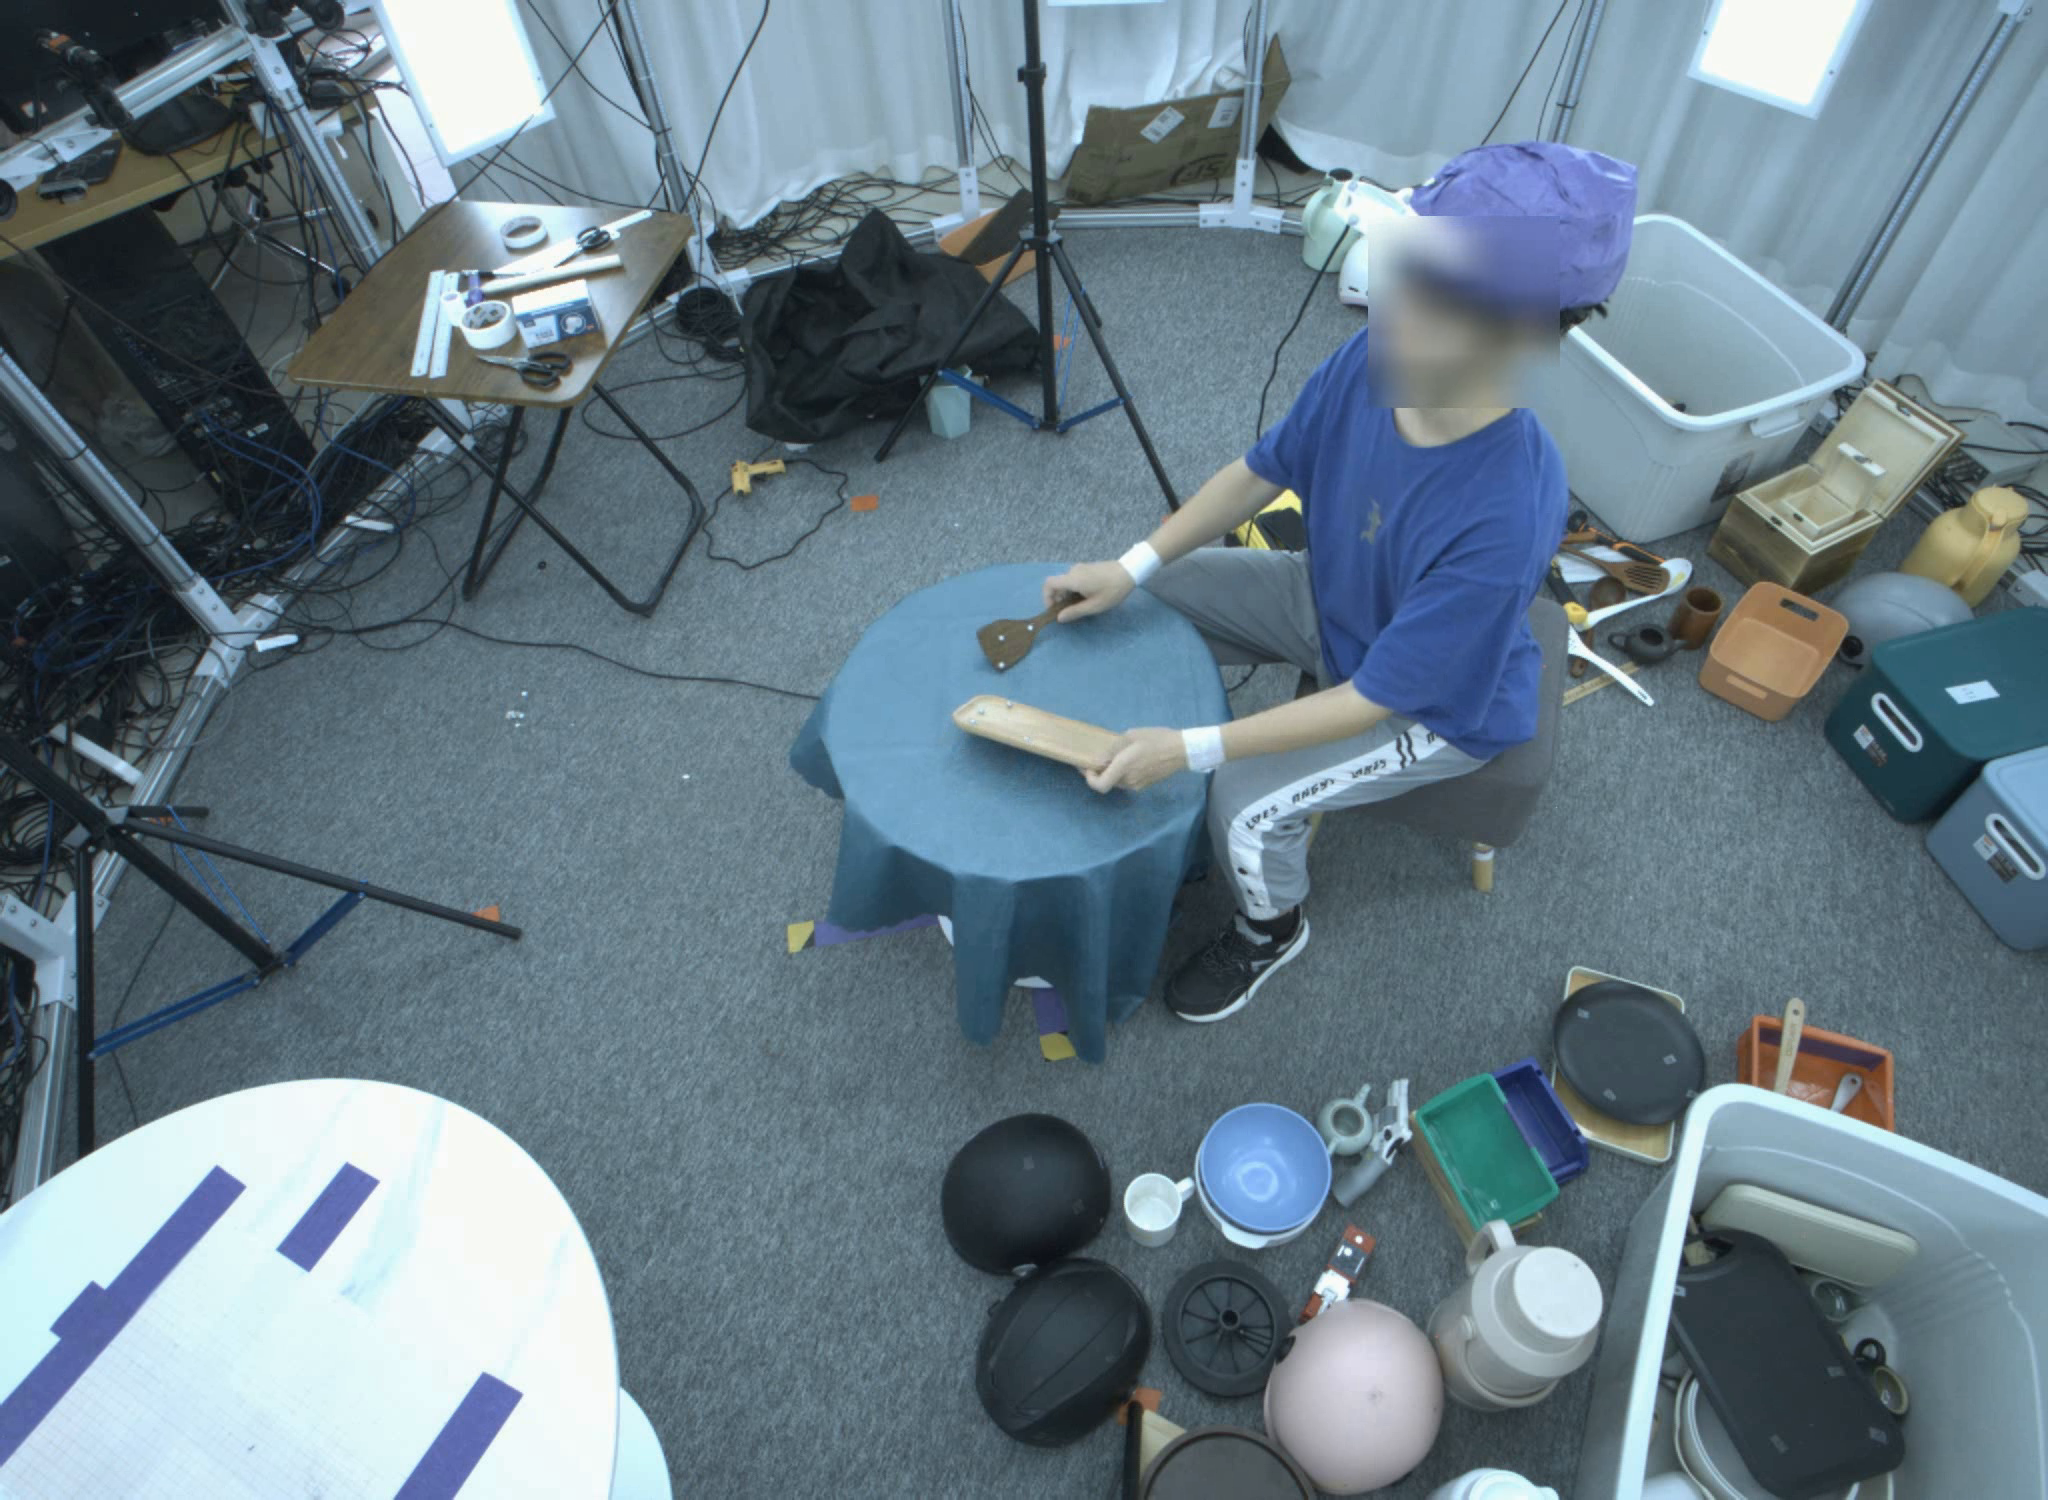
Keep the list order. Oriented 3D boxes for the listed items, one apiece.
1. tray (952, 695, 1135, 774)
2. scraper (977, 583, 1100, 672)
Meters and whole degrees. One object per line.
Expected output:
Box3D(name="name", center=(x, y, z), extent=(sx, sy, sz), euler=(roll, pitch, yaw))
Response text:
Box3D(name="tray", center=(0.028, -0.024, 1.747), extent=(0.247, 0.023, 0.131), euler=(19, 28, 16))
Box3D(name="scraper", center=(0.027, -0.198, 1.886), extent=(0.213, 0.011, 0.076), euler=(-32, 94, -16))
